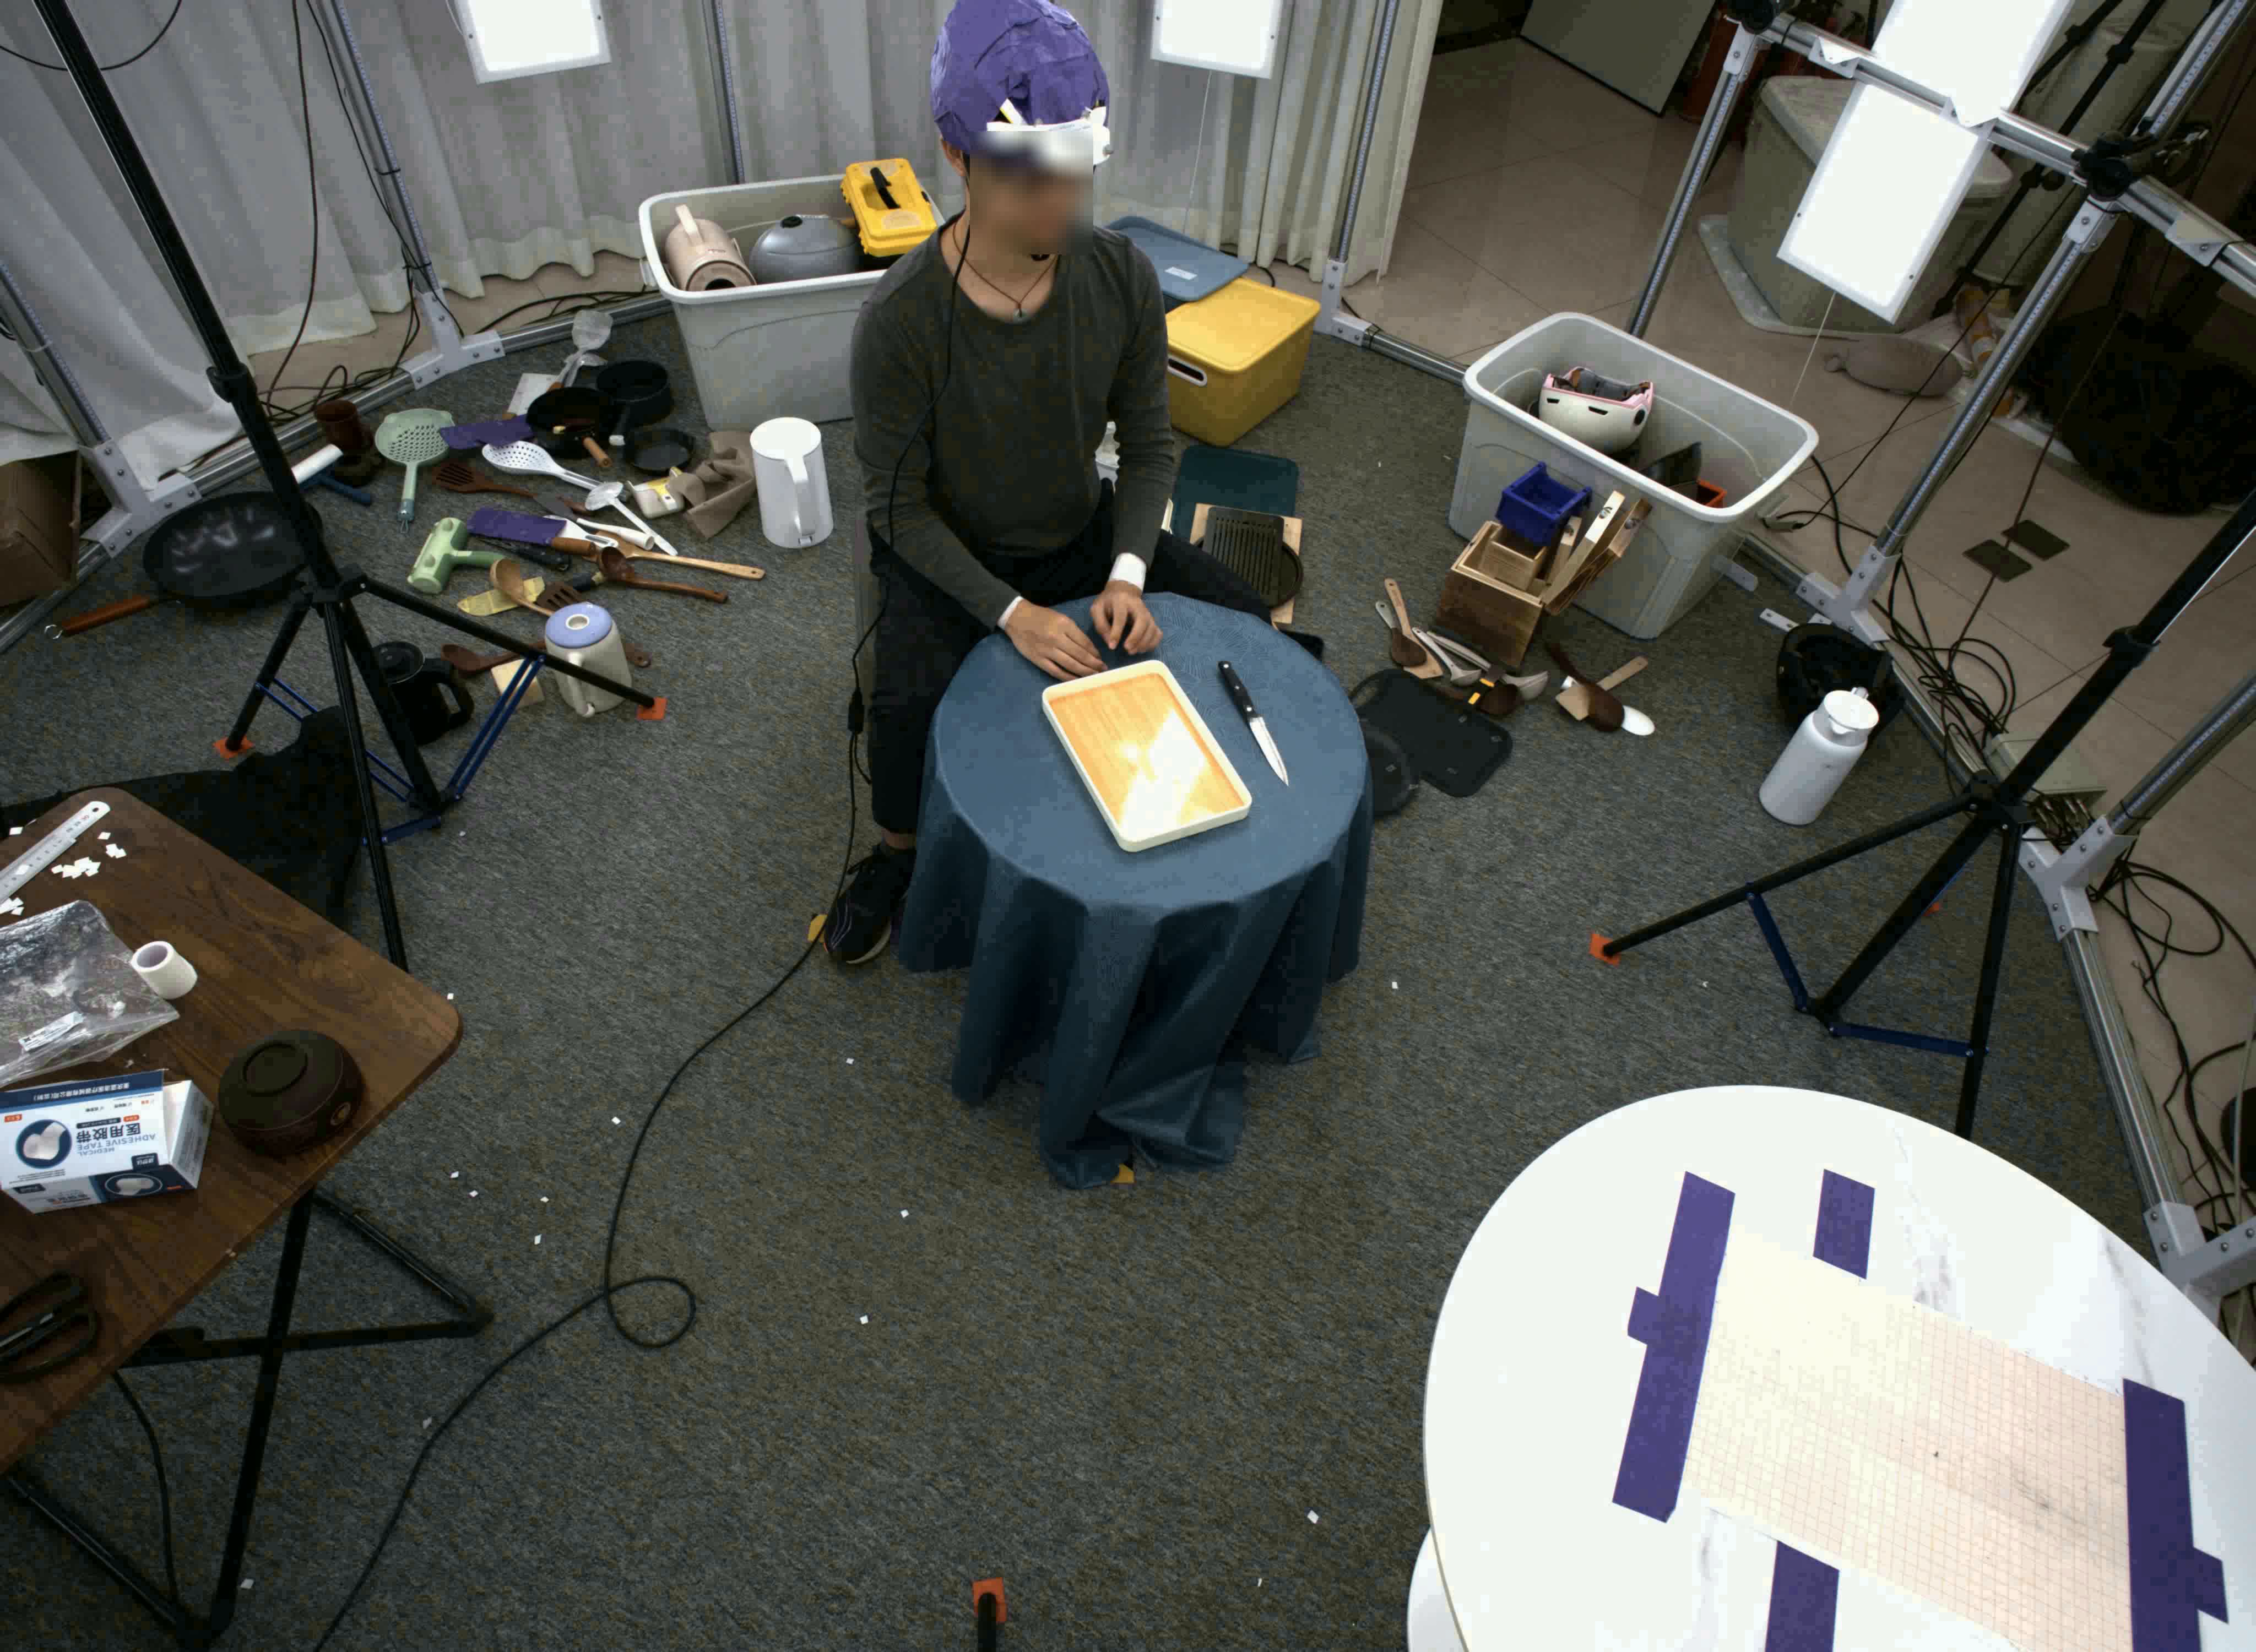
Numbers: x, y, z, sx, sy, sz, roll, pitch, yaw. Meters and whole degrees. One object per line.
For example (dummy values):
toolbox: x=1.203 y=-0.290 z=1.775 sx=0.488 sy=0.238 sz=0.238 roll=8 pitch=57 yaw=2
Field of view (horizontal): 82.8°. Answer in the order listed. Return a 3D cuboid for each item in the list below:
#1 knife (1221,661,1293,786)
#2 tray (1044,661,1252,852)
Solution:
knife: x=0.179 y=-0.145 z=1.798 sx=0.024 sy=0.016 sz=0.244 roll=-16 pitch=54 yaw=-11
tray: x=0.022 y=-0.101 z=1.740 sx=0.192 sy=0.027 sz=0.307 roll=-15 pitch=52 yaw=-18
